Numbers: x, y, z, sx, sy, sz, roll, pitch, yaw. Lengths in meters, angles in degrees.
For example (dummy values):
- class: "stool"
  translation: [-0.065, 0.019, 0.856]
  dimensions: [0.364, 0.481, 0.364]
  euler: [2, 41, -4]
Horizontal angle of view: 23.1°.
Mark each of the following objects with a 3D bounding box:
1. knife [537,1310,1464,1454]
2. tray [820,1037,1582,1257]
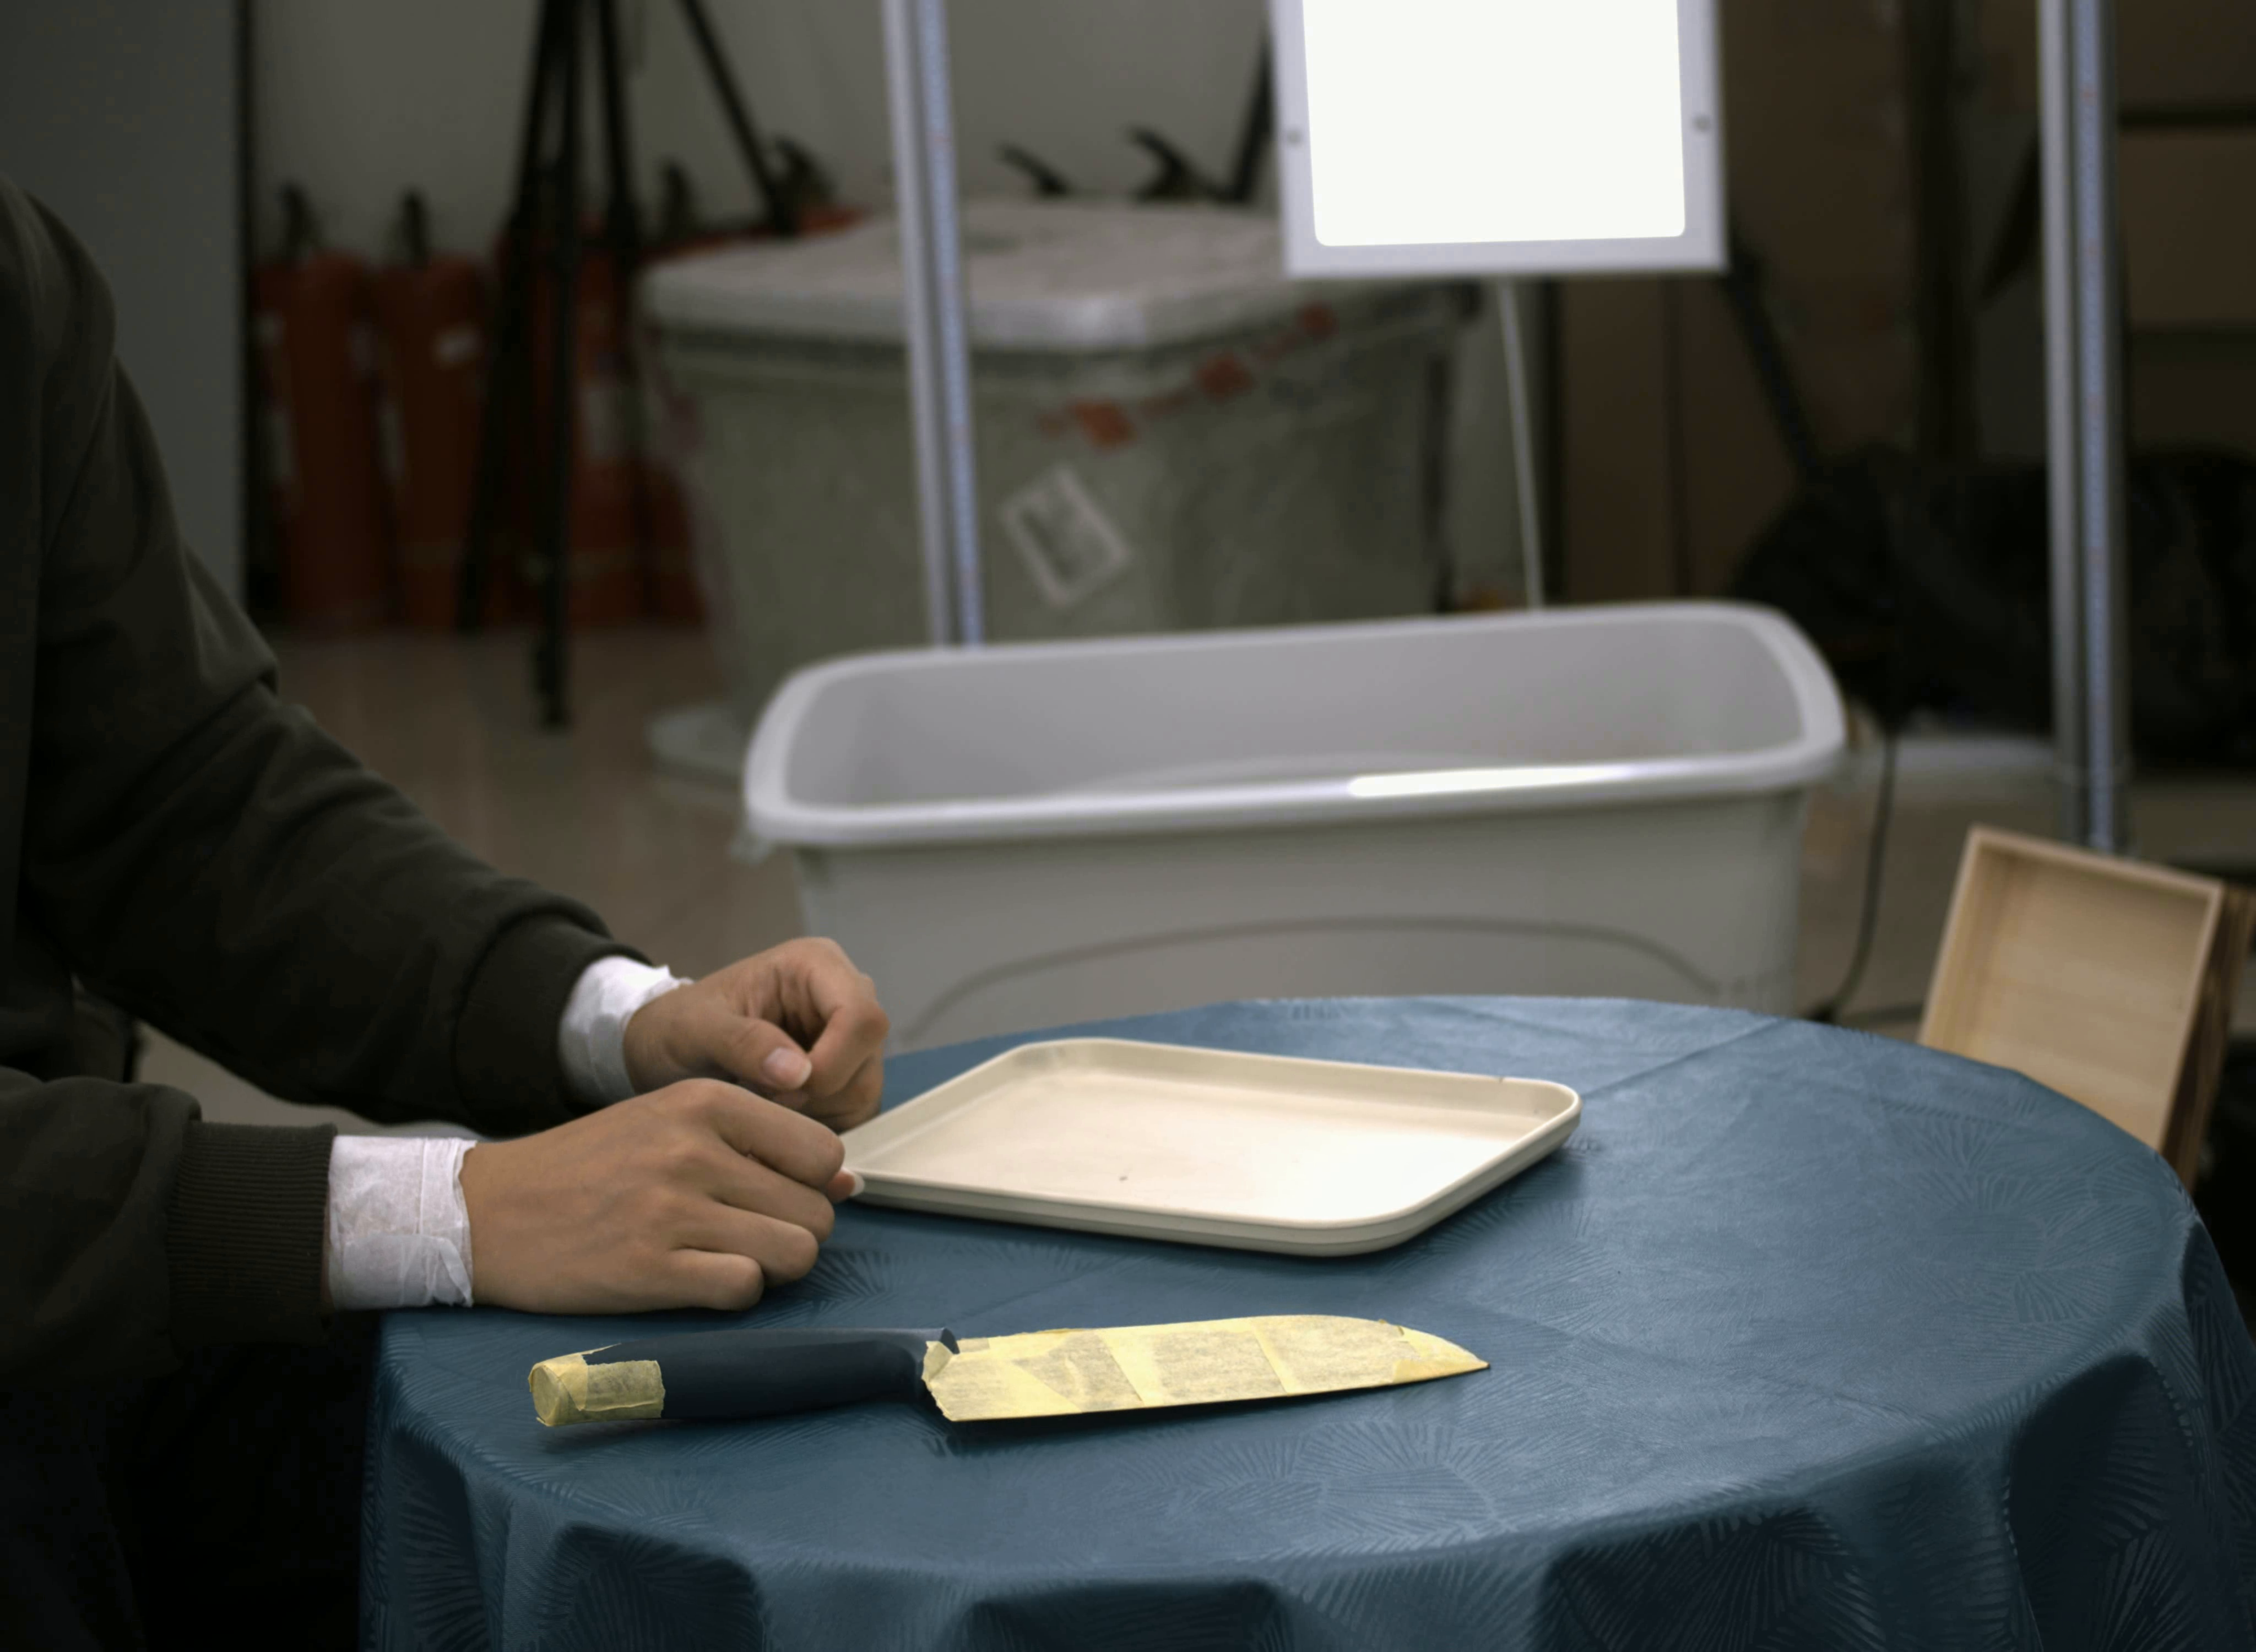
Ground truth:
- class: "knife"
  translation: [-0.038, 0.172, 1.702]
  dimensions: [0.288, 0.027, 0.081]
  euler: [-5, 12, -4]
- class: "tray"
  translation: [0.026, 0.111, 1.919]
  dimensions: [0.244, 0.017, 0.167]
  euler: [4, 17, 34]
